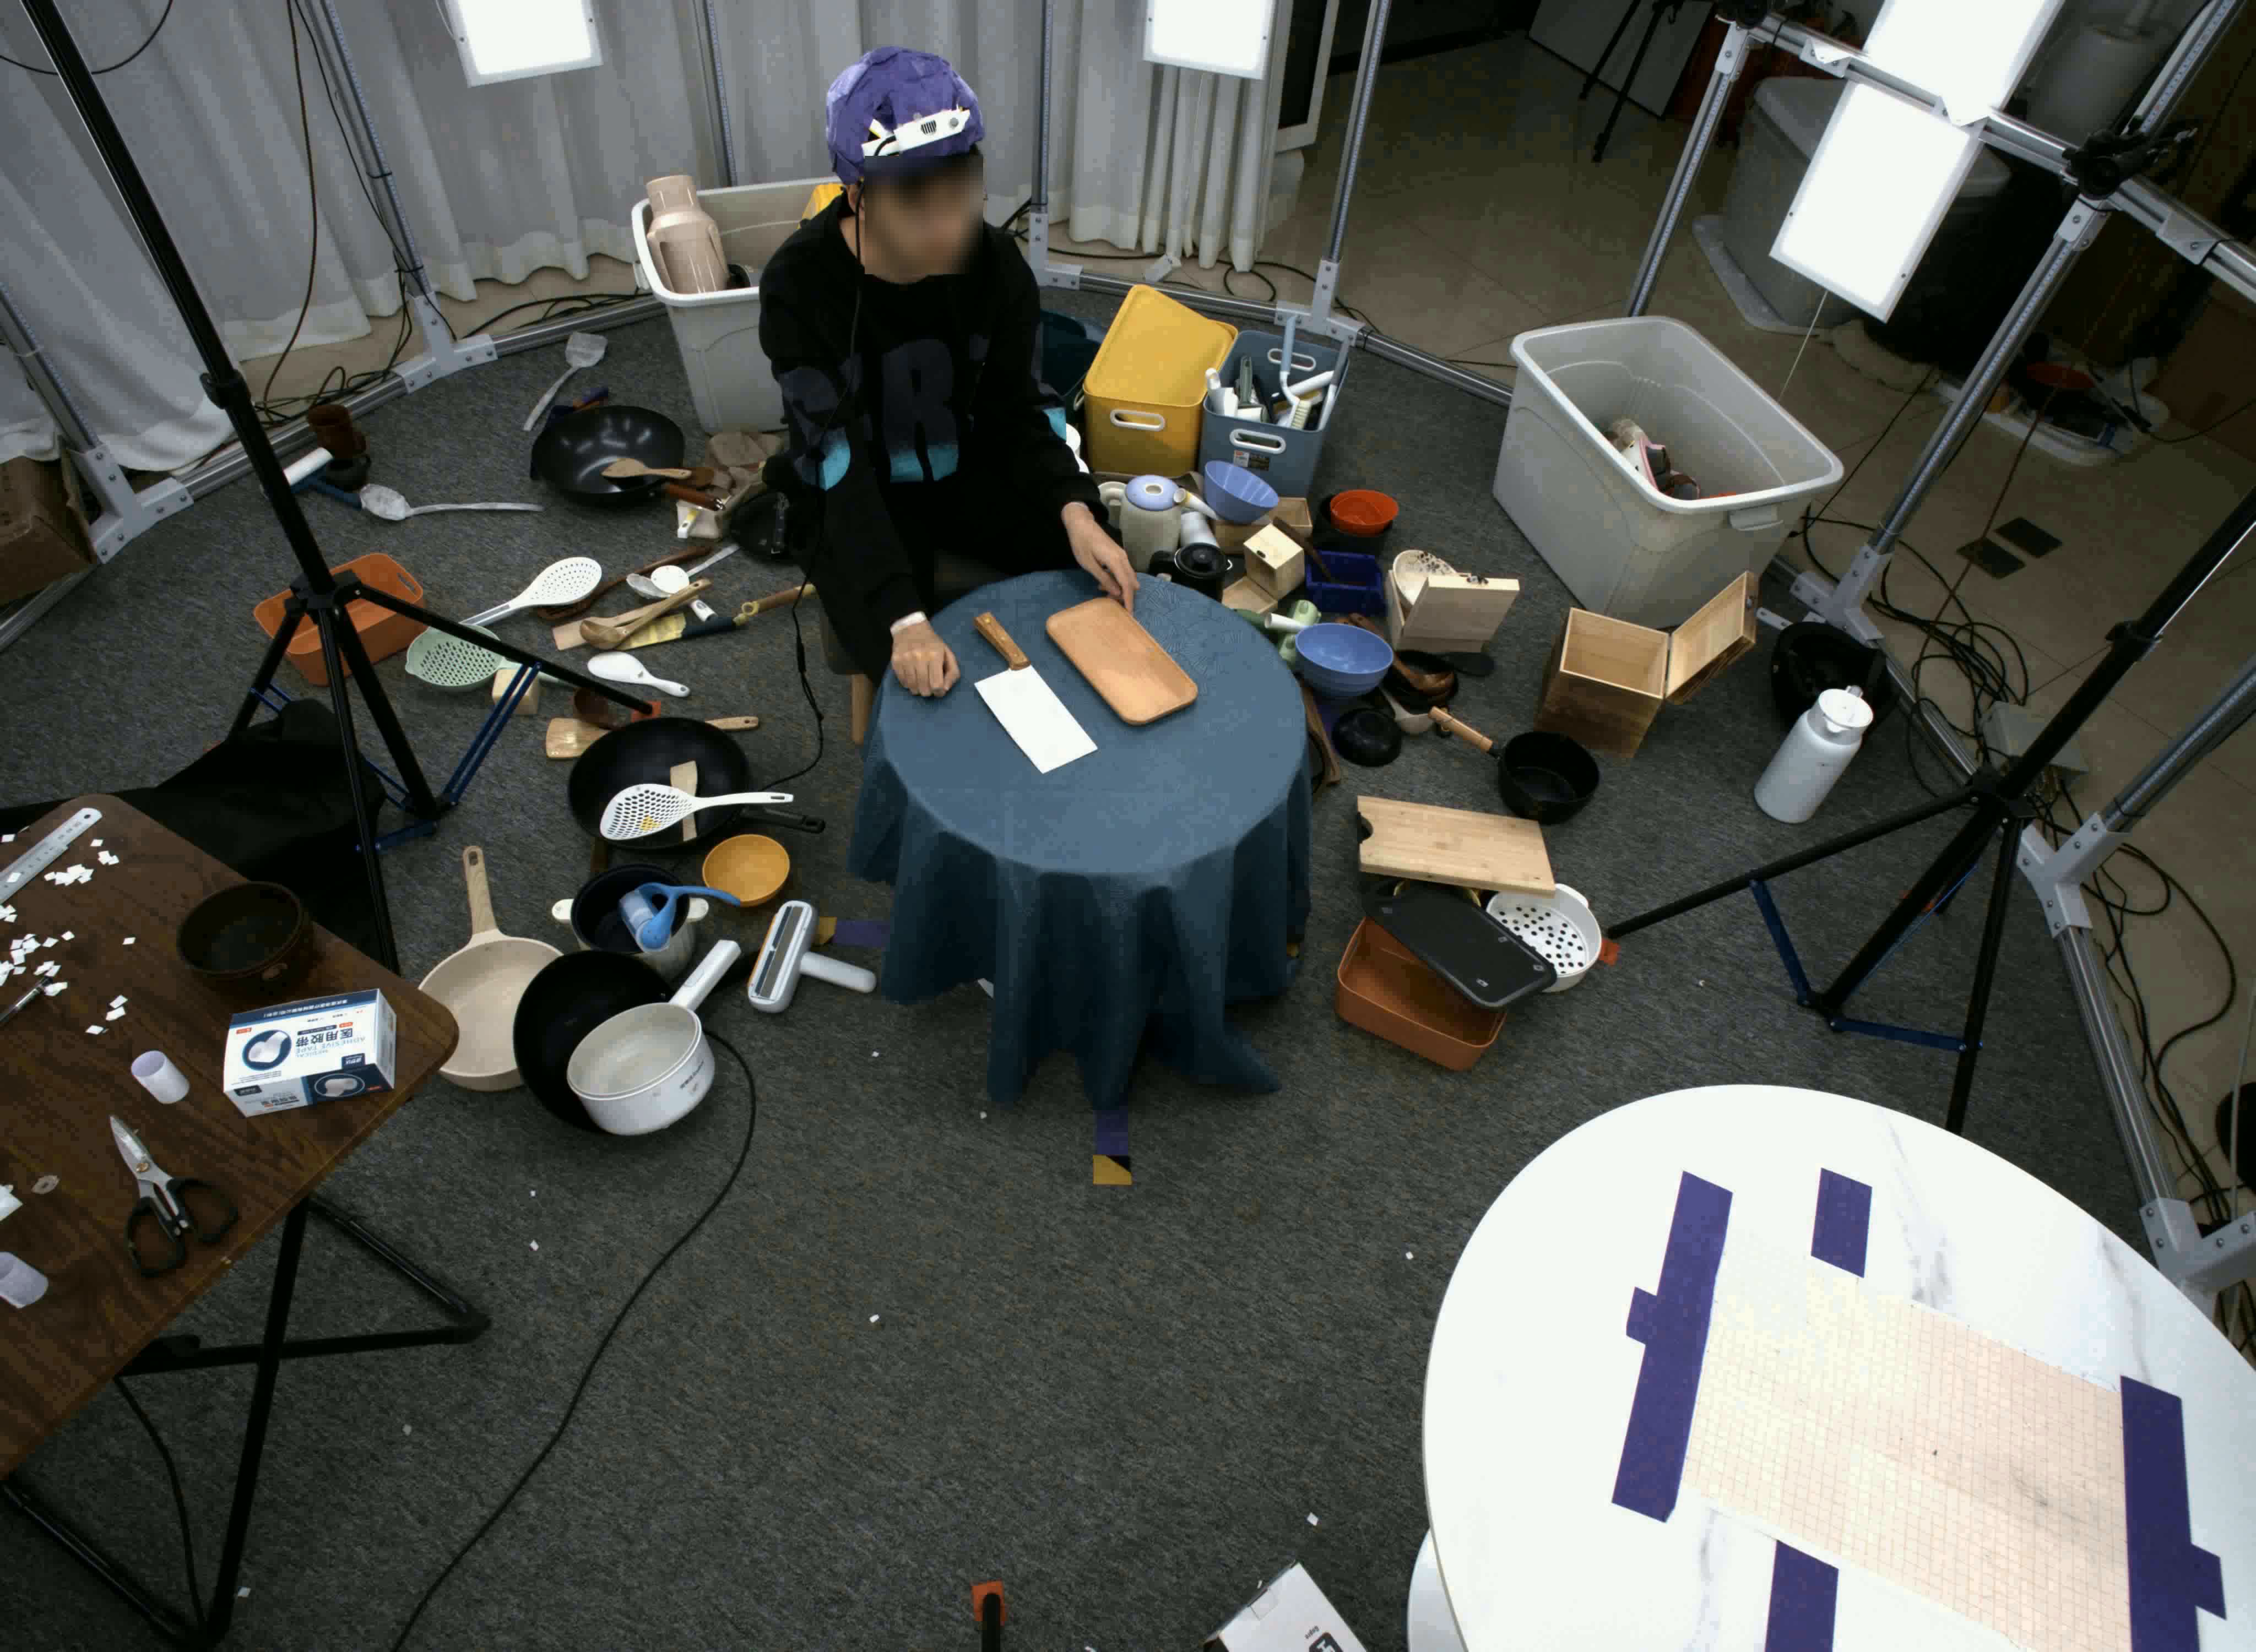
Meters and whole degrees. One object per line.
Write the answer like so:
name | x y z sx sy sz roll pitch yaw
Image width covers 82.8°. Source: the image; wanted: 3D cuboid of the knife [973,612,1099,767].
knife | -0.155 -0.194 1.817 0.093 0.020 0.312 -25 57 -21

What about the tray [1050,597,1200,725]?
tray | -0.006 -0.242 1.868 0.131 0.022 0.256 -21 53 -23
